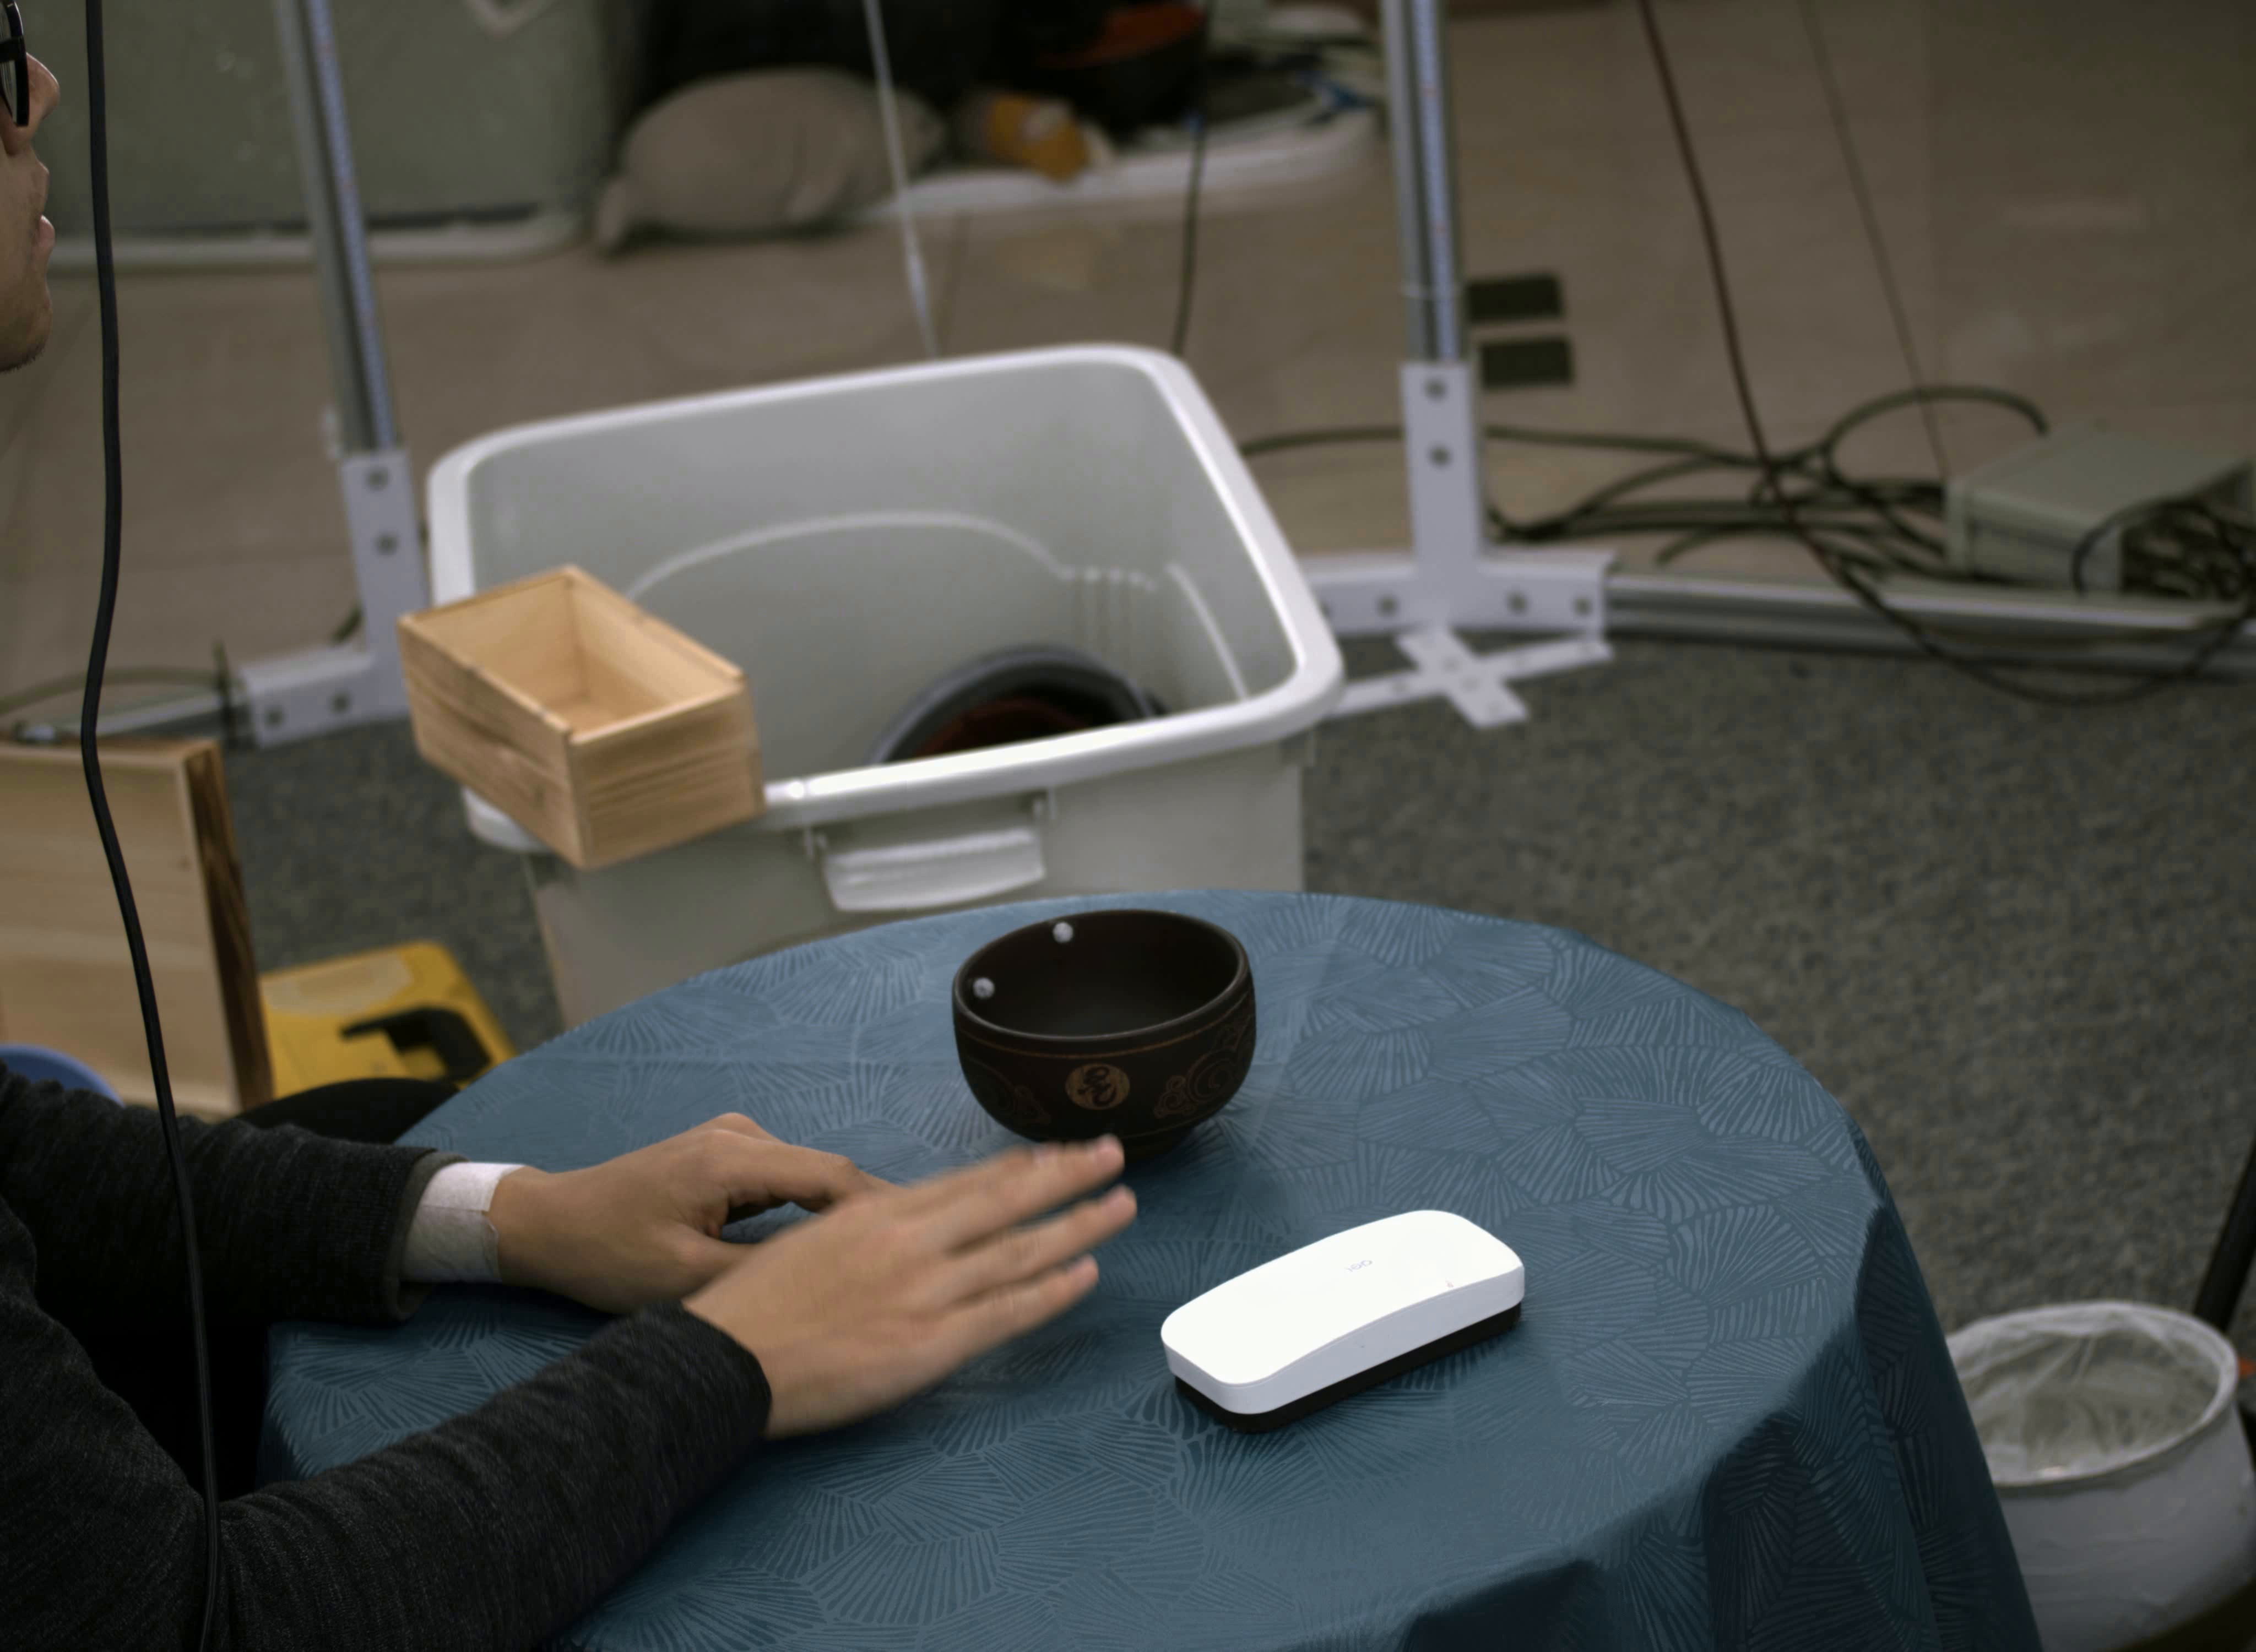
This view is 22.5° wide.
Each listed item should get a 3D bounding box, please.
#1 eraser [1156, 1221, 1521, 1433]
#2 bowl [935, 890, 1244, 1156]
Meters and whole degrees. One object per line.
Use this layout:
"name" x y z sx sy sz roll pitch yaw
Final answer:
"eraser" 0.075 0.174 2.017 0.130 0.035 0.063 -19 26 -27
"bowl" -0.013 0.083 2.182 0.118 0.071 0.116 -4 33 2
